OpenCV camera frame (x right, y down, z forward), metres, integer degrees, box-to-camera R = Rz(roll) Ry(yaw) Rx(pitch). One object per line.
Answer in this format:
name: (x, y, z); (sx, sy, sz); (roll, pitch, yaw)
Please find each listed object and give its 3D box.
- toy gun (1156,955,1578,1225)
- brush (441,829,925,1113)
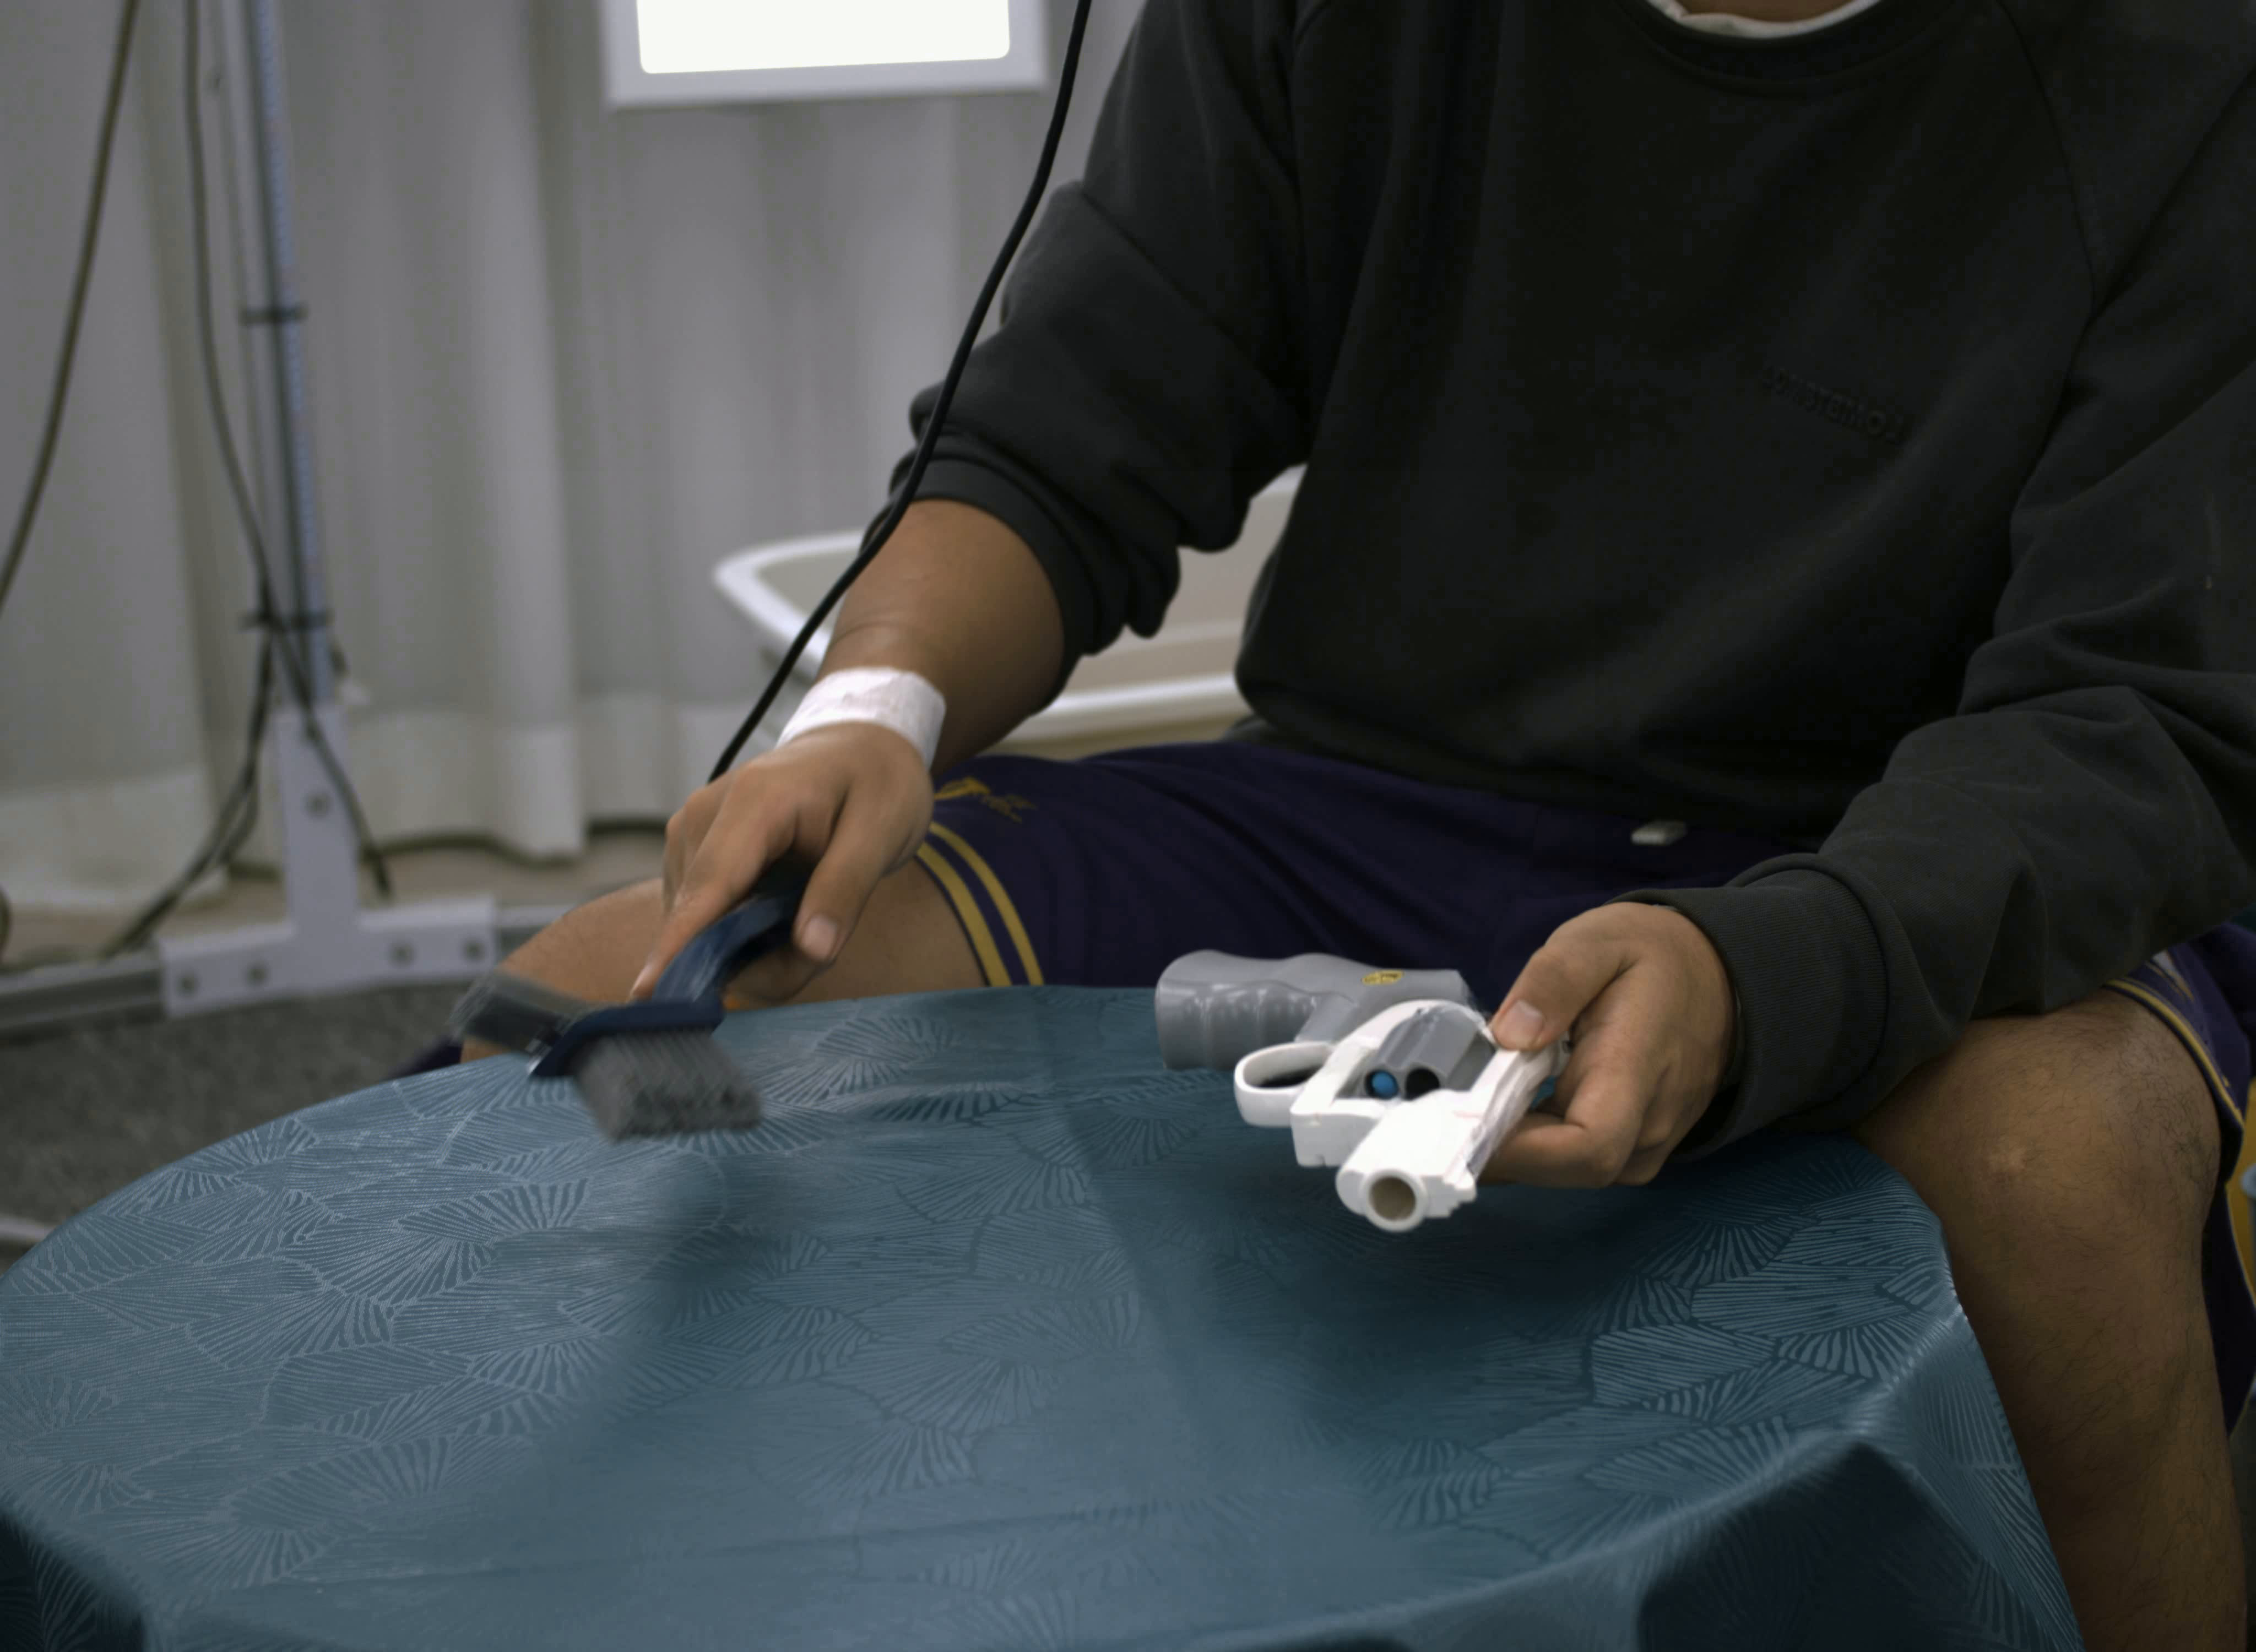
toy gun: (0.059, 0.076, 1.622); (0.141, 0.038, 0.210); (-5, 14, 18)
brush: (-0.134, 0.034, 1.762); (0.095, 0.033, 0.274); (38, 21, 1)
